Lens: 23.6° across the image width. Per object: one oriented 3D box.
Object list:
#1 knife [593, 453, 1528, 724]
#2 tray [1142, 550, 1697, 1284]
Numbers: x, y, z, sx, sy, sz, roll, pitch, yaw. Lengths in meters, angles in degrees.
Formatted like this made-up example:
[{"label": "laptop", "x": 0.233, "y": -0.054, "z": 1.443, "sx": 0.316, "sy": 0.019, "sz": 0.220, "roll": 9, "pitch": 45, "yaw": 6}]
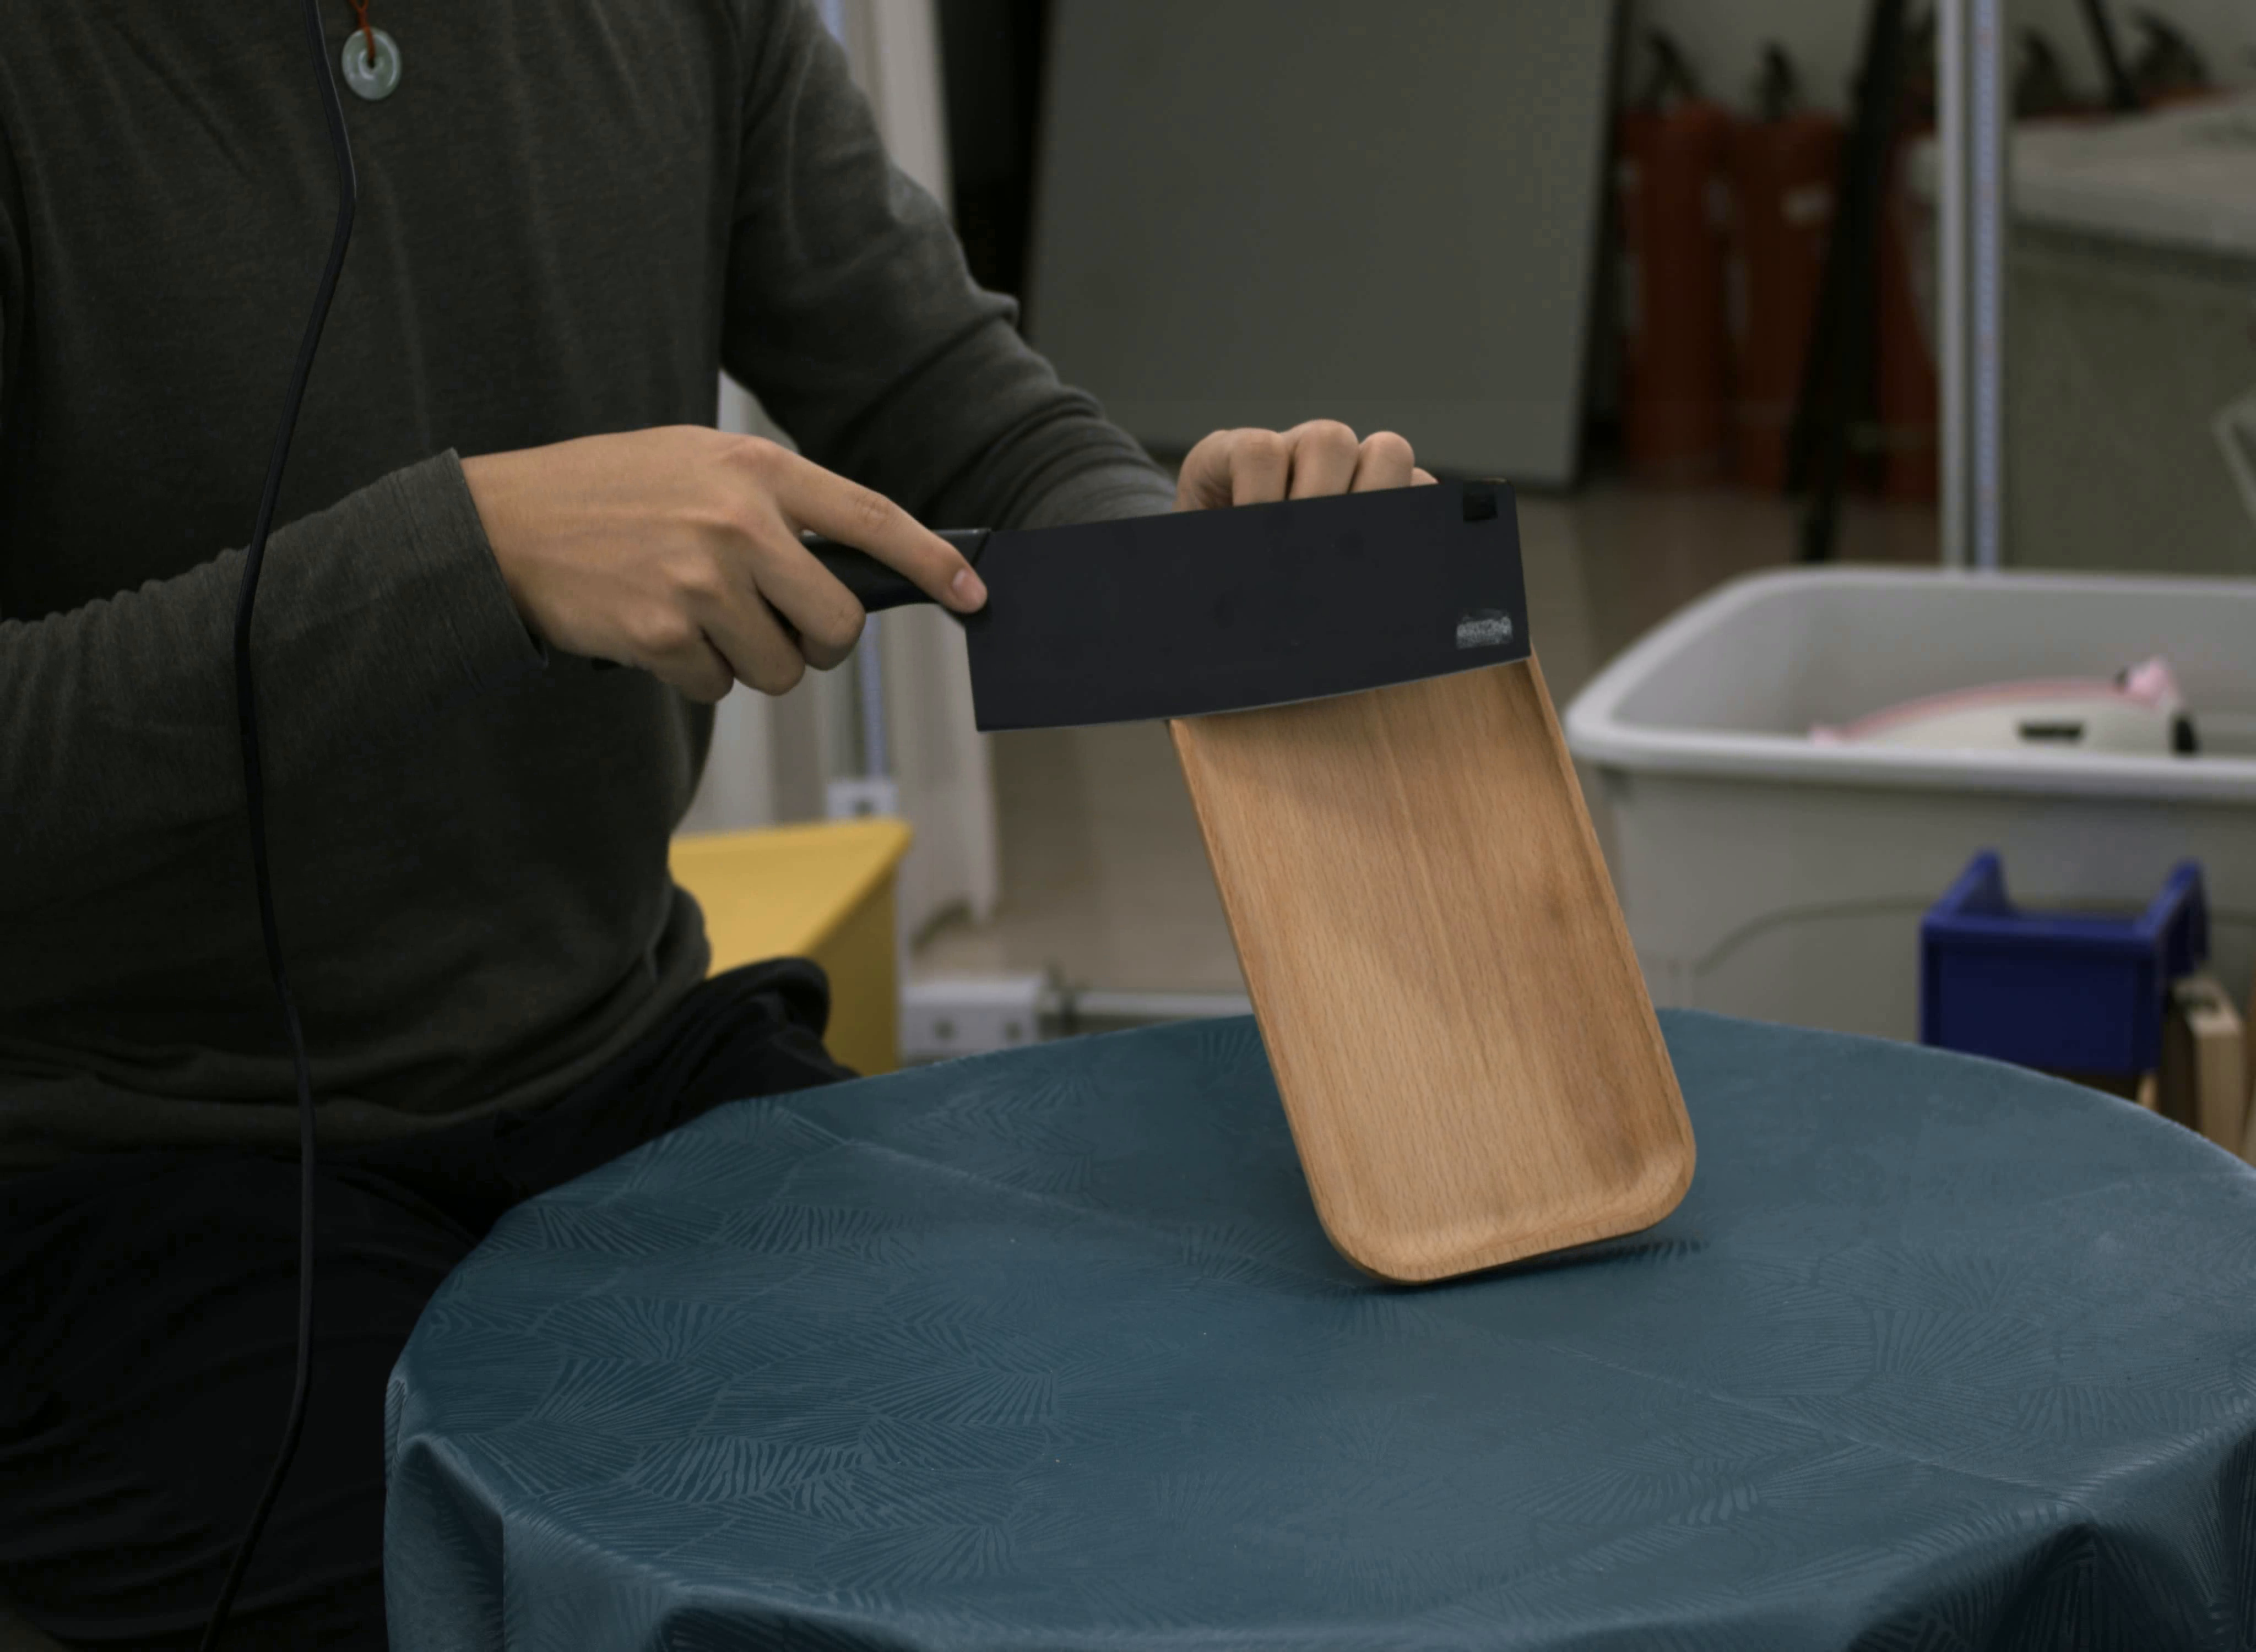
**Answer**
[{"label": "knife", "x": -0.022, "y": -0.071, "z": 1.721, "sx": 0.299, "sy": 0.082, "sz": 0.021, "roll": -3, "pitch": -11, "yaw": 5}, {"label": "tray", "x": 0.091, "y": 0.020, "z": 1.710, "sx": 0.128, "sy": 0.254, "sz": 0.023, "roll": -10, "pitch": -21, "yaw": -16}]
